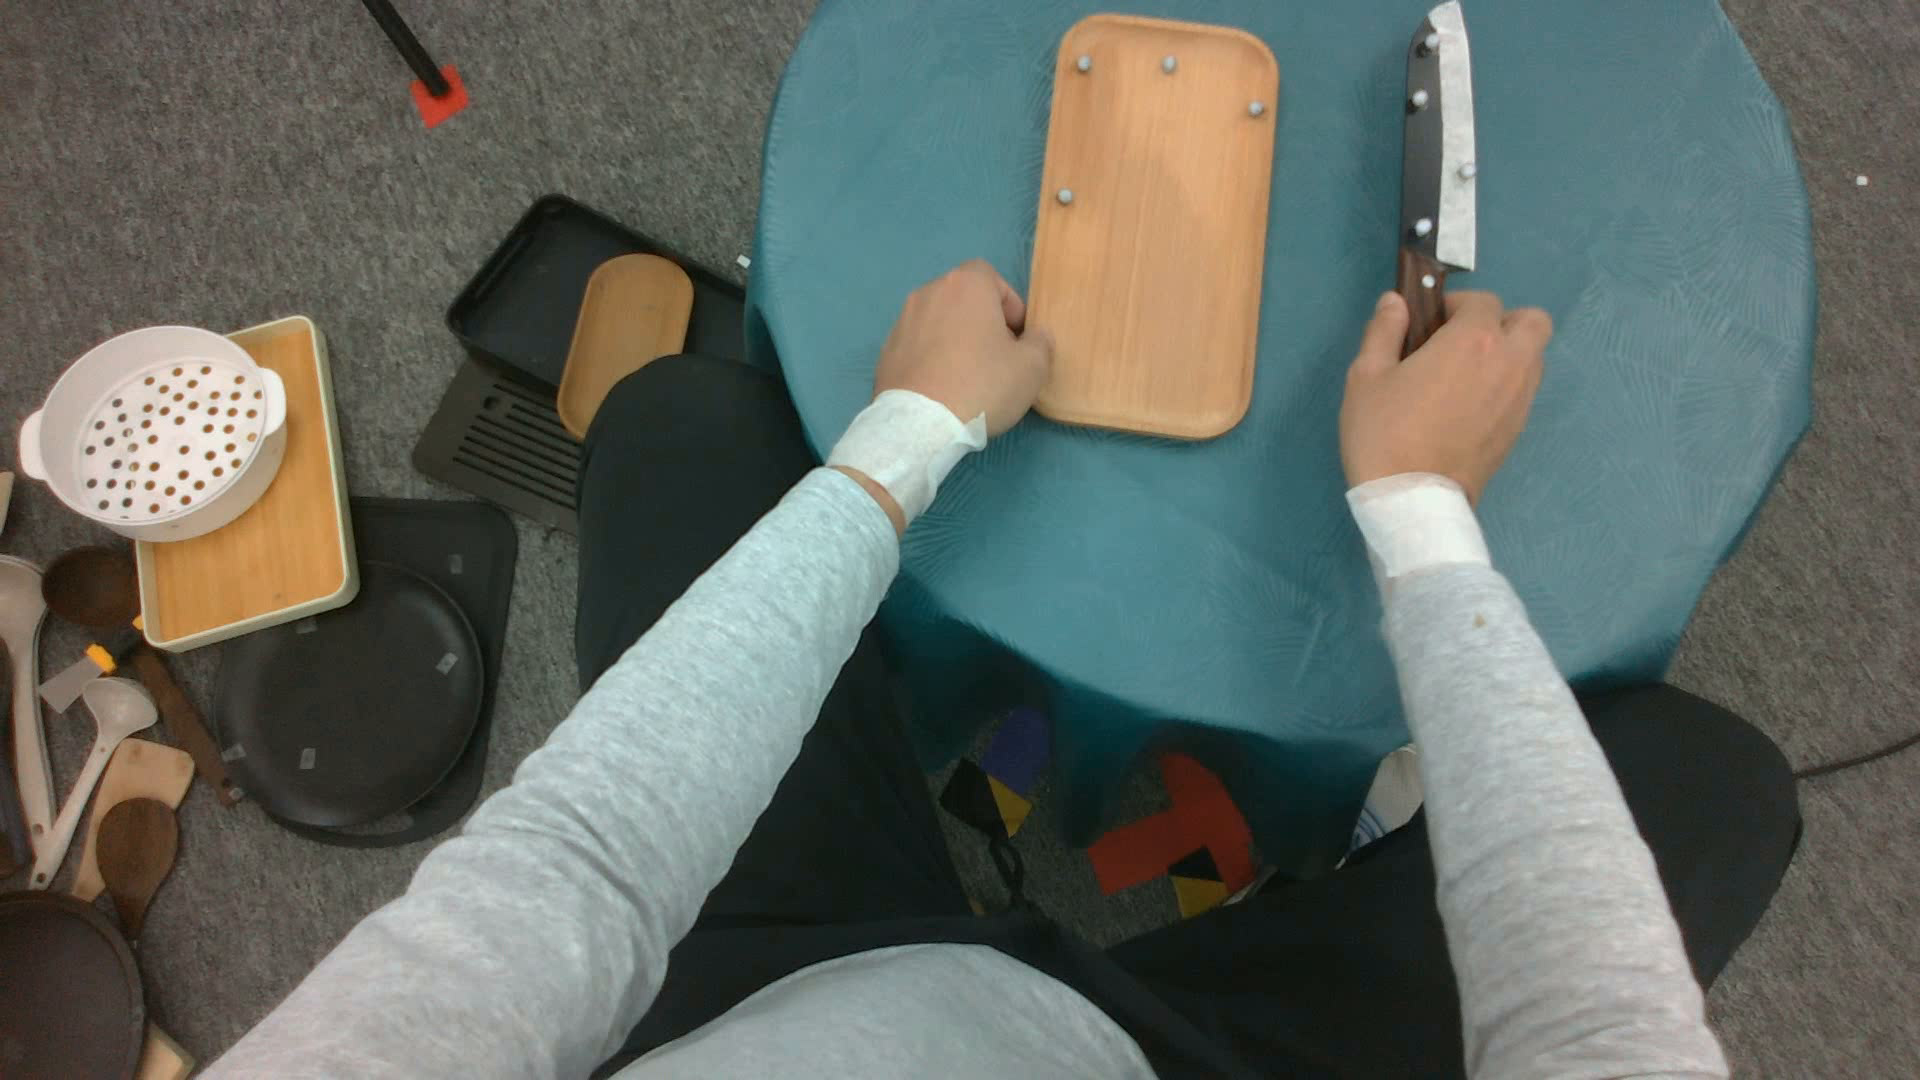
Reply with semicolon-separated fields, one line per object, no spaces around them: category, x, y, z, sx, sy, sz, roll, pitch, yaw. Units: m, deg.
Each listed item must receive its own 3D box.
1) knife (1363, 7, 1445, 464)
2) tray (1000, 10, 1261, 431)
knife;0.244;-0.175;0.756;0.050;0.020;0.290;12;72;-10
tray;0.098;-0.183;0.776;0.130;0.023;0.251;7;76;3
